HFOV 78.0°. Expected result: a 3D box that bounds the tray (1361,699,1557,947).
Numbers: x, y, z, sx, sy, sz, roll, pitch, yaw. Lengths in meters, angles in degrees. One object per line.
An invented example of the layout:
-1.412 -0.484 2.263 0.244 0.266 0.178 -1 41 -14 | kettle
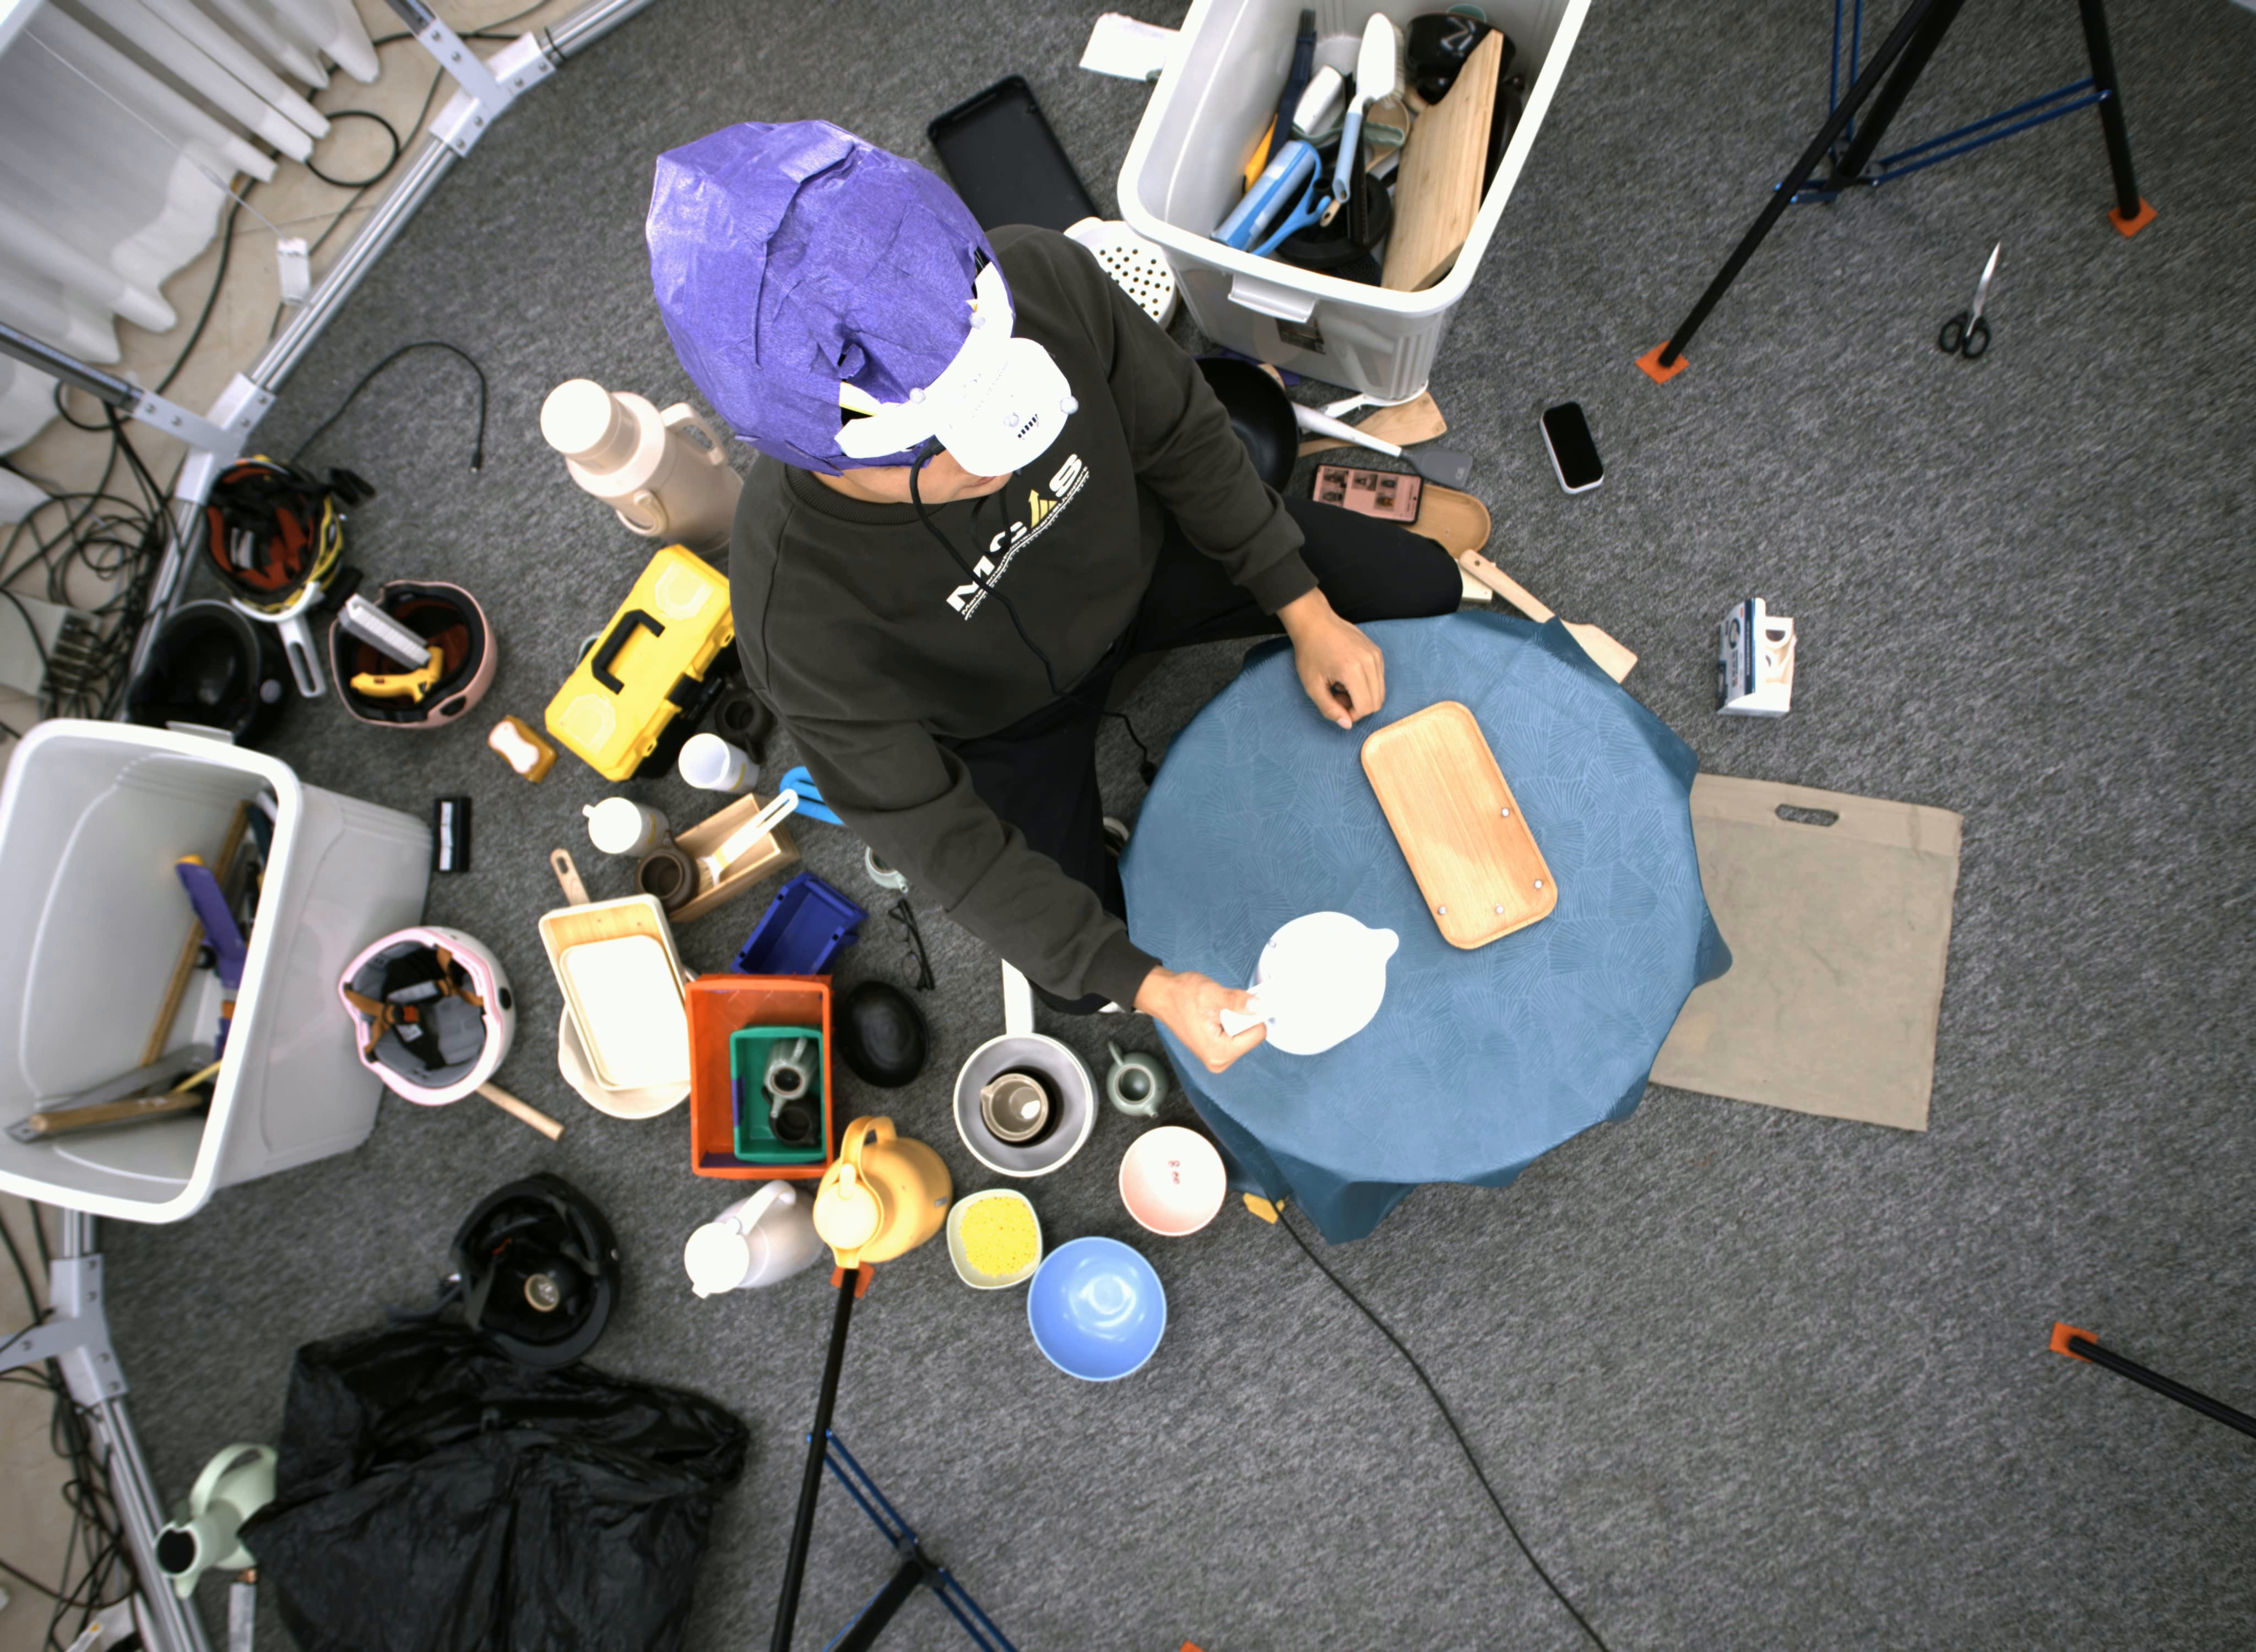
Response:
0.346 -0.006 1.442 0.131 0.023 0.249 -23 82 6 | tray

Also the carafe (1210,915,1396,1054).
0.163 0.161 1.329 0.173 0.271 0.123 -26 80 -2 | carafe
